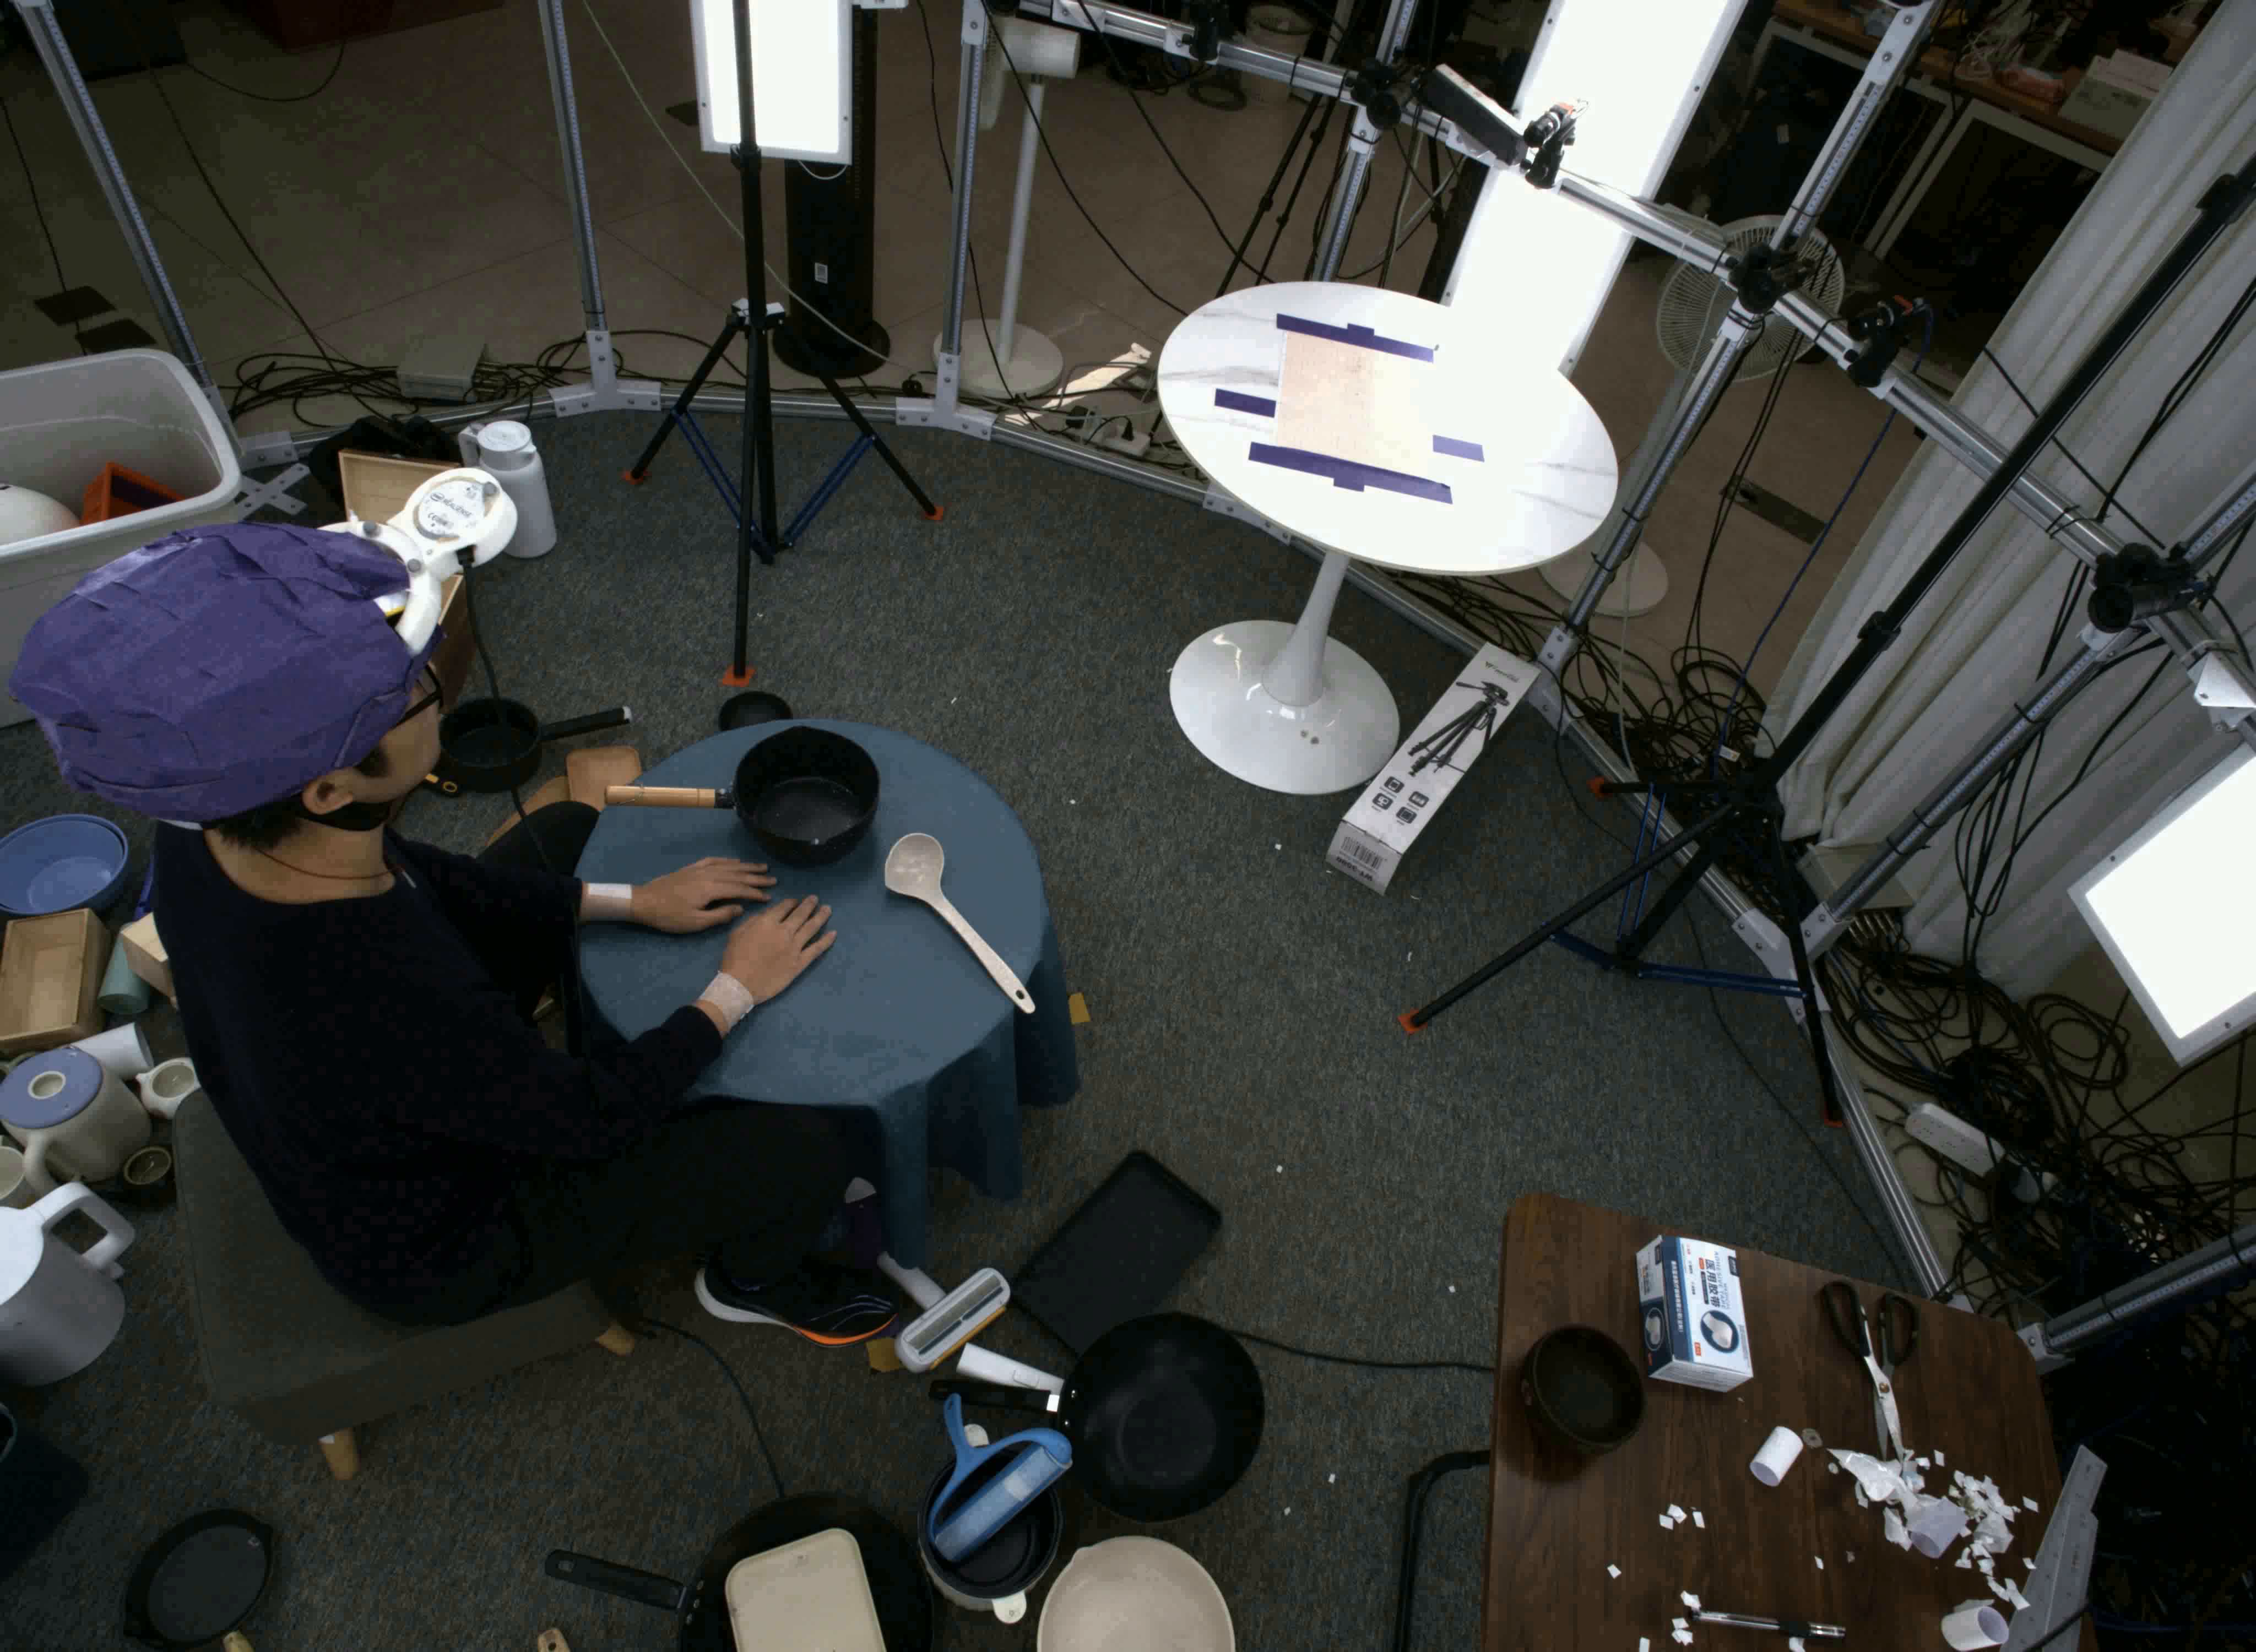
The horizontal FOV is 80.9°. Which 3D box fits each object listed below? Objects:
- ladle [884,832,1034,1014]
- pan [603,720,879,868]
[{"bbox_3d":[-0.204,0.119,1.642,0.269,0.070,0.090,44,49,17],"label":"ladle"},{"bbox_3d":[-0.491,-0.030,1.648,0.345,0.110,0.202,-7,57,-21],"label":"pan"}]
